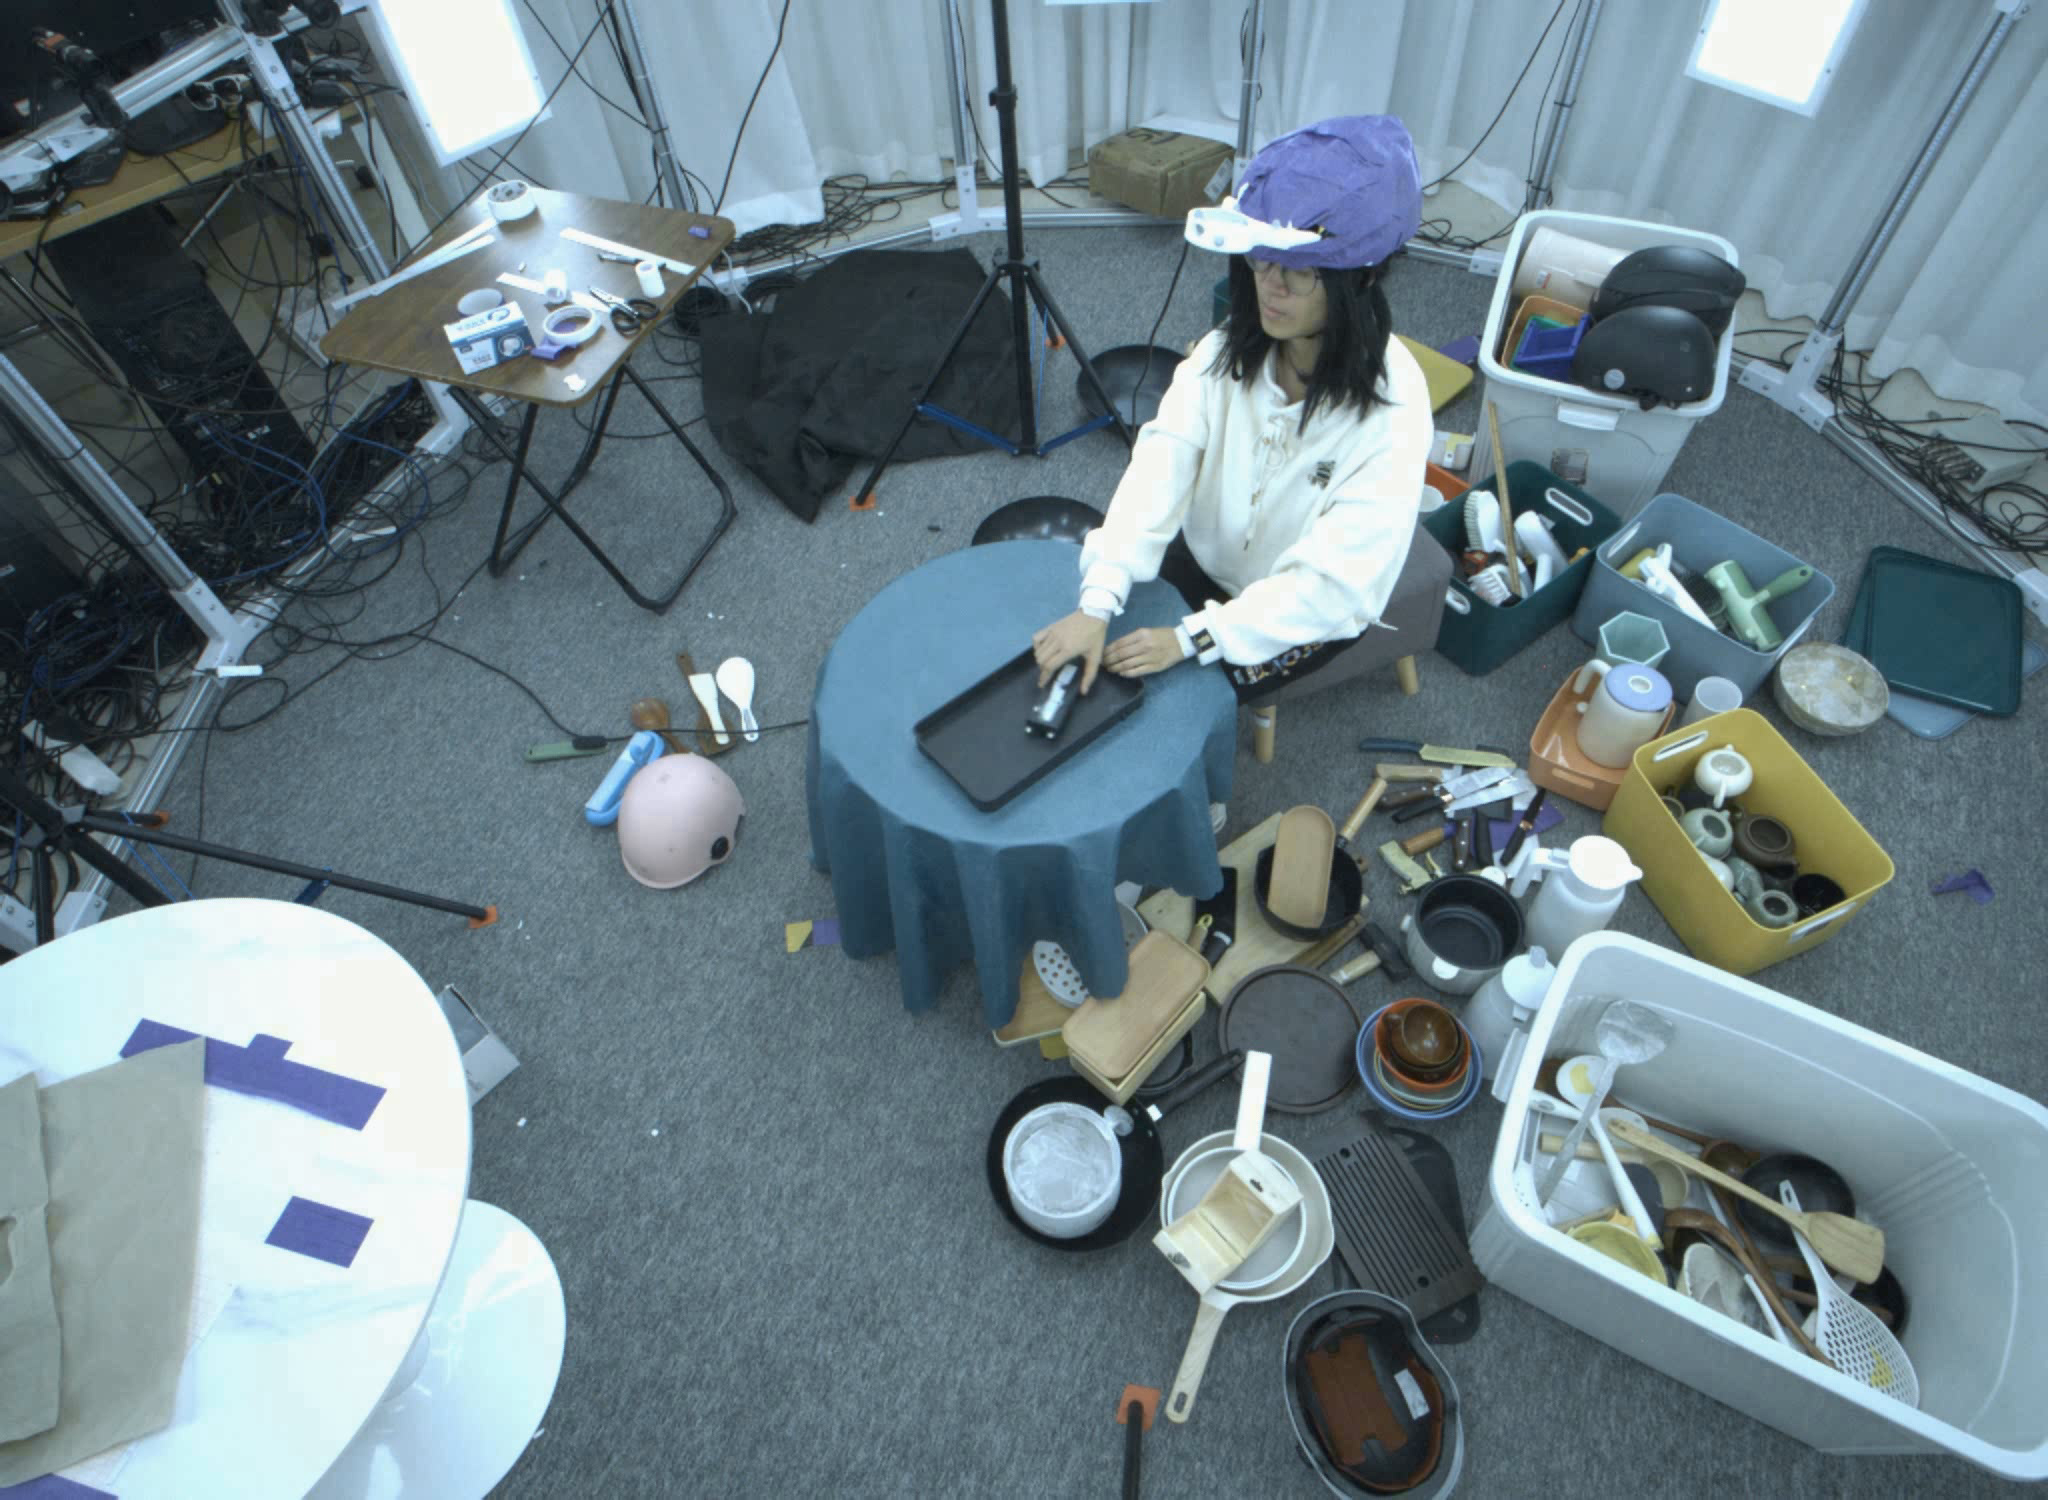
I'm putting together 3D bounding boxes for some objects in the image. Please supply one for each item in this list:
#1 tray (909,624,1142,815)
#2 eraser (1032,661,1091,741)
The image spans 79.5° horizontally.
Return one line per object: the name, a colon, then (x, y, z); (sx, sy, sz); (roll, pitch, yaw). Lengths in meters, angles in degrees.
tray: (0.004, -0.050, 1.800); (0.320, 0.037, 0.181); (-37, 62, -22)
eraser: (0.056, -0.072, 1.814); (0.053, 0.030, 0.125); (18, 57, 7)
